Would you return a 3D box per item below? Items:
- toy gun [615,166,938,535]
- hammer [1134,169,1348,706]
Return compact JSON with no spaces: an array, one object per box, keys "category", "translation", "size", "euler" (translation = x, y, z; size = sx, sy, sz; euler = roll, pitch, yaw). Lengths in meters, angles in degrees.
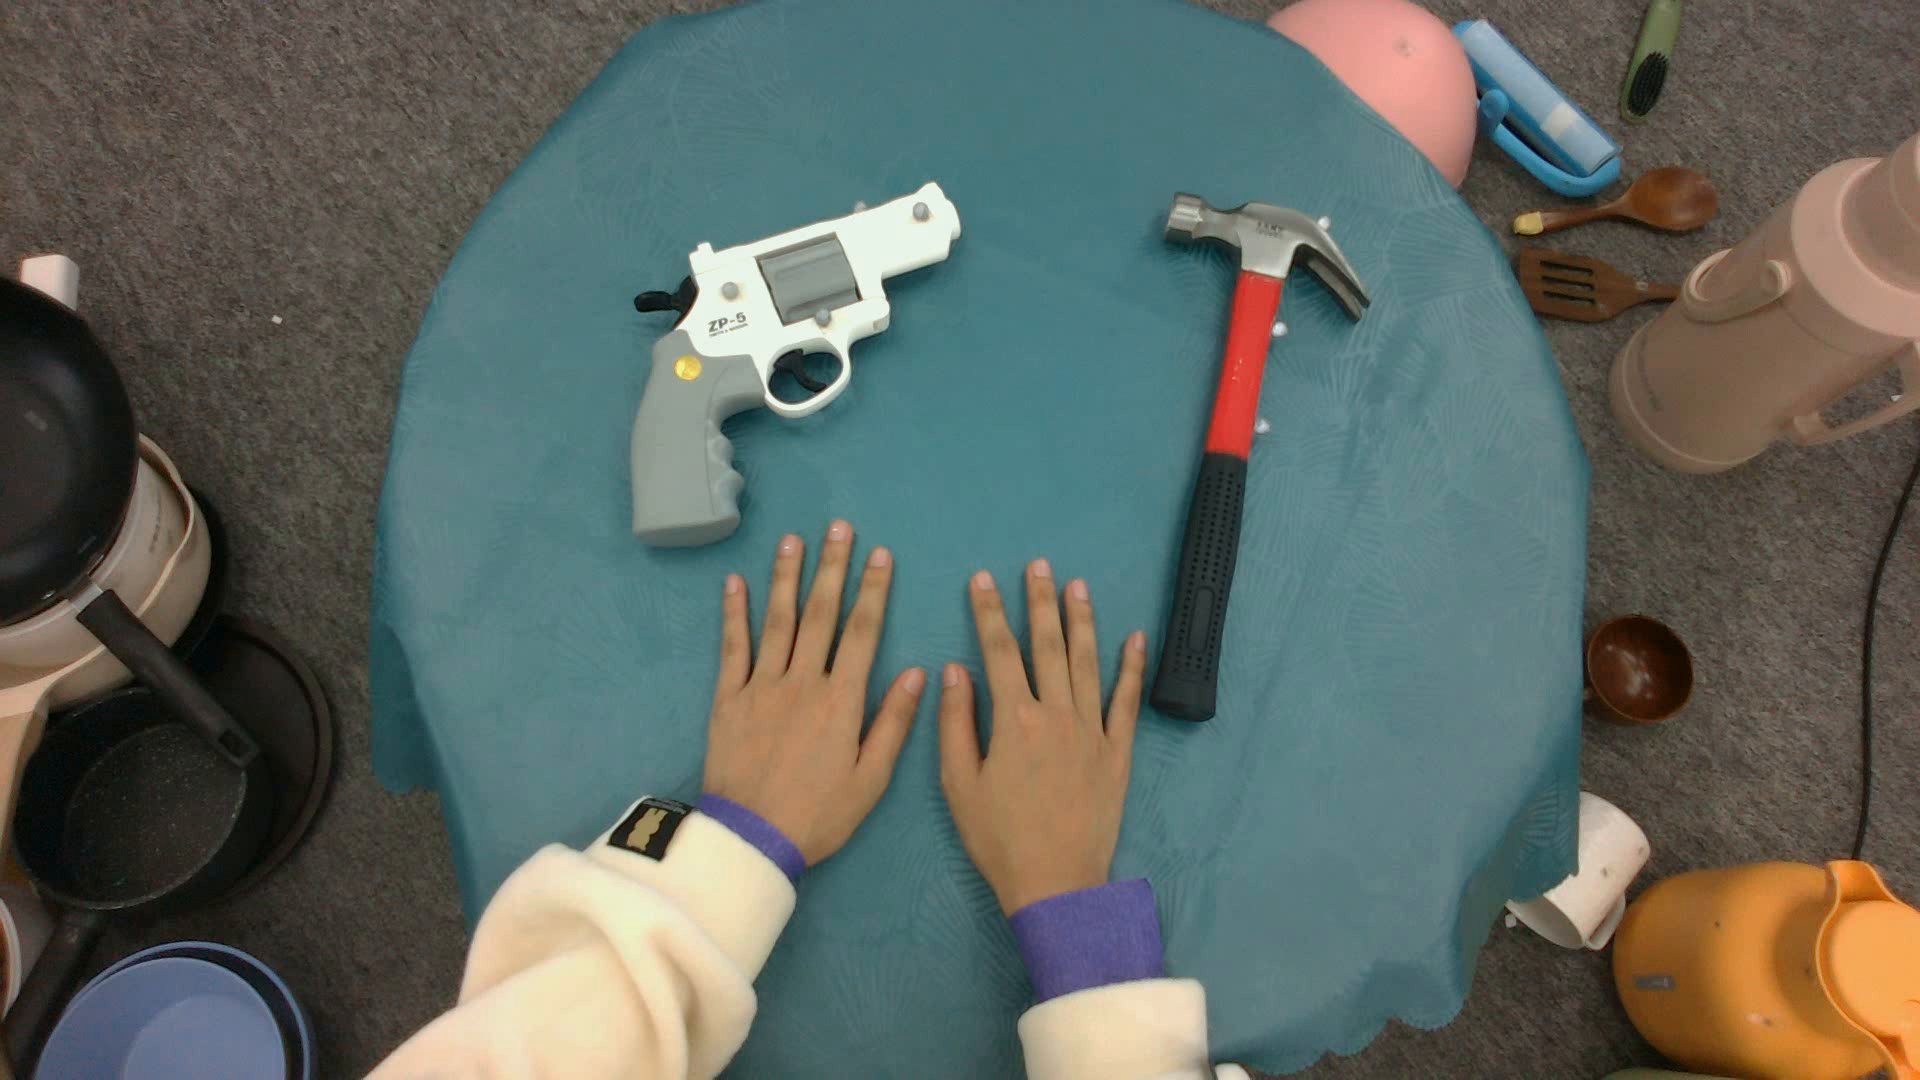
[{"category":"toy gun","translation":[-0.089,-0.098,0.680],"size":[0.209,0.038,0.142],"euler":[-23,74,-12]},{"category":"hammer","translation":[0.127,-0.053,0.688],"size":[0.111,0.026,0.278],"euler":[16,71,-8]}]
